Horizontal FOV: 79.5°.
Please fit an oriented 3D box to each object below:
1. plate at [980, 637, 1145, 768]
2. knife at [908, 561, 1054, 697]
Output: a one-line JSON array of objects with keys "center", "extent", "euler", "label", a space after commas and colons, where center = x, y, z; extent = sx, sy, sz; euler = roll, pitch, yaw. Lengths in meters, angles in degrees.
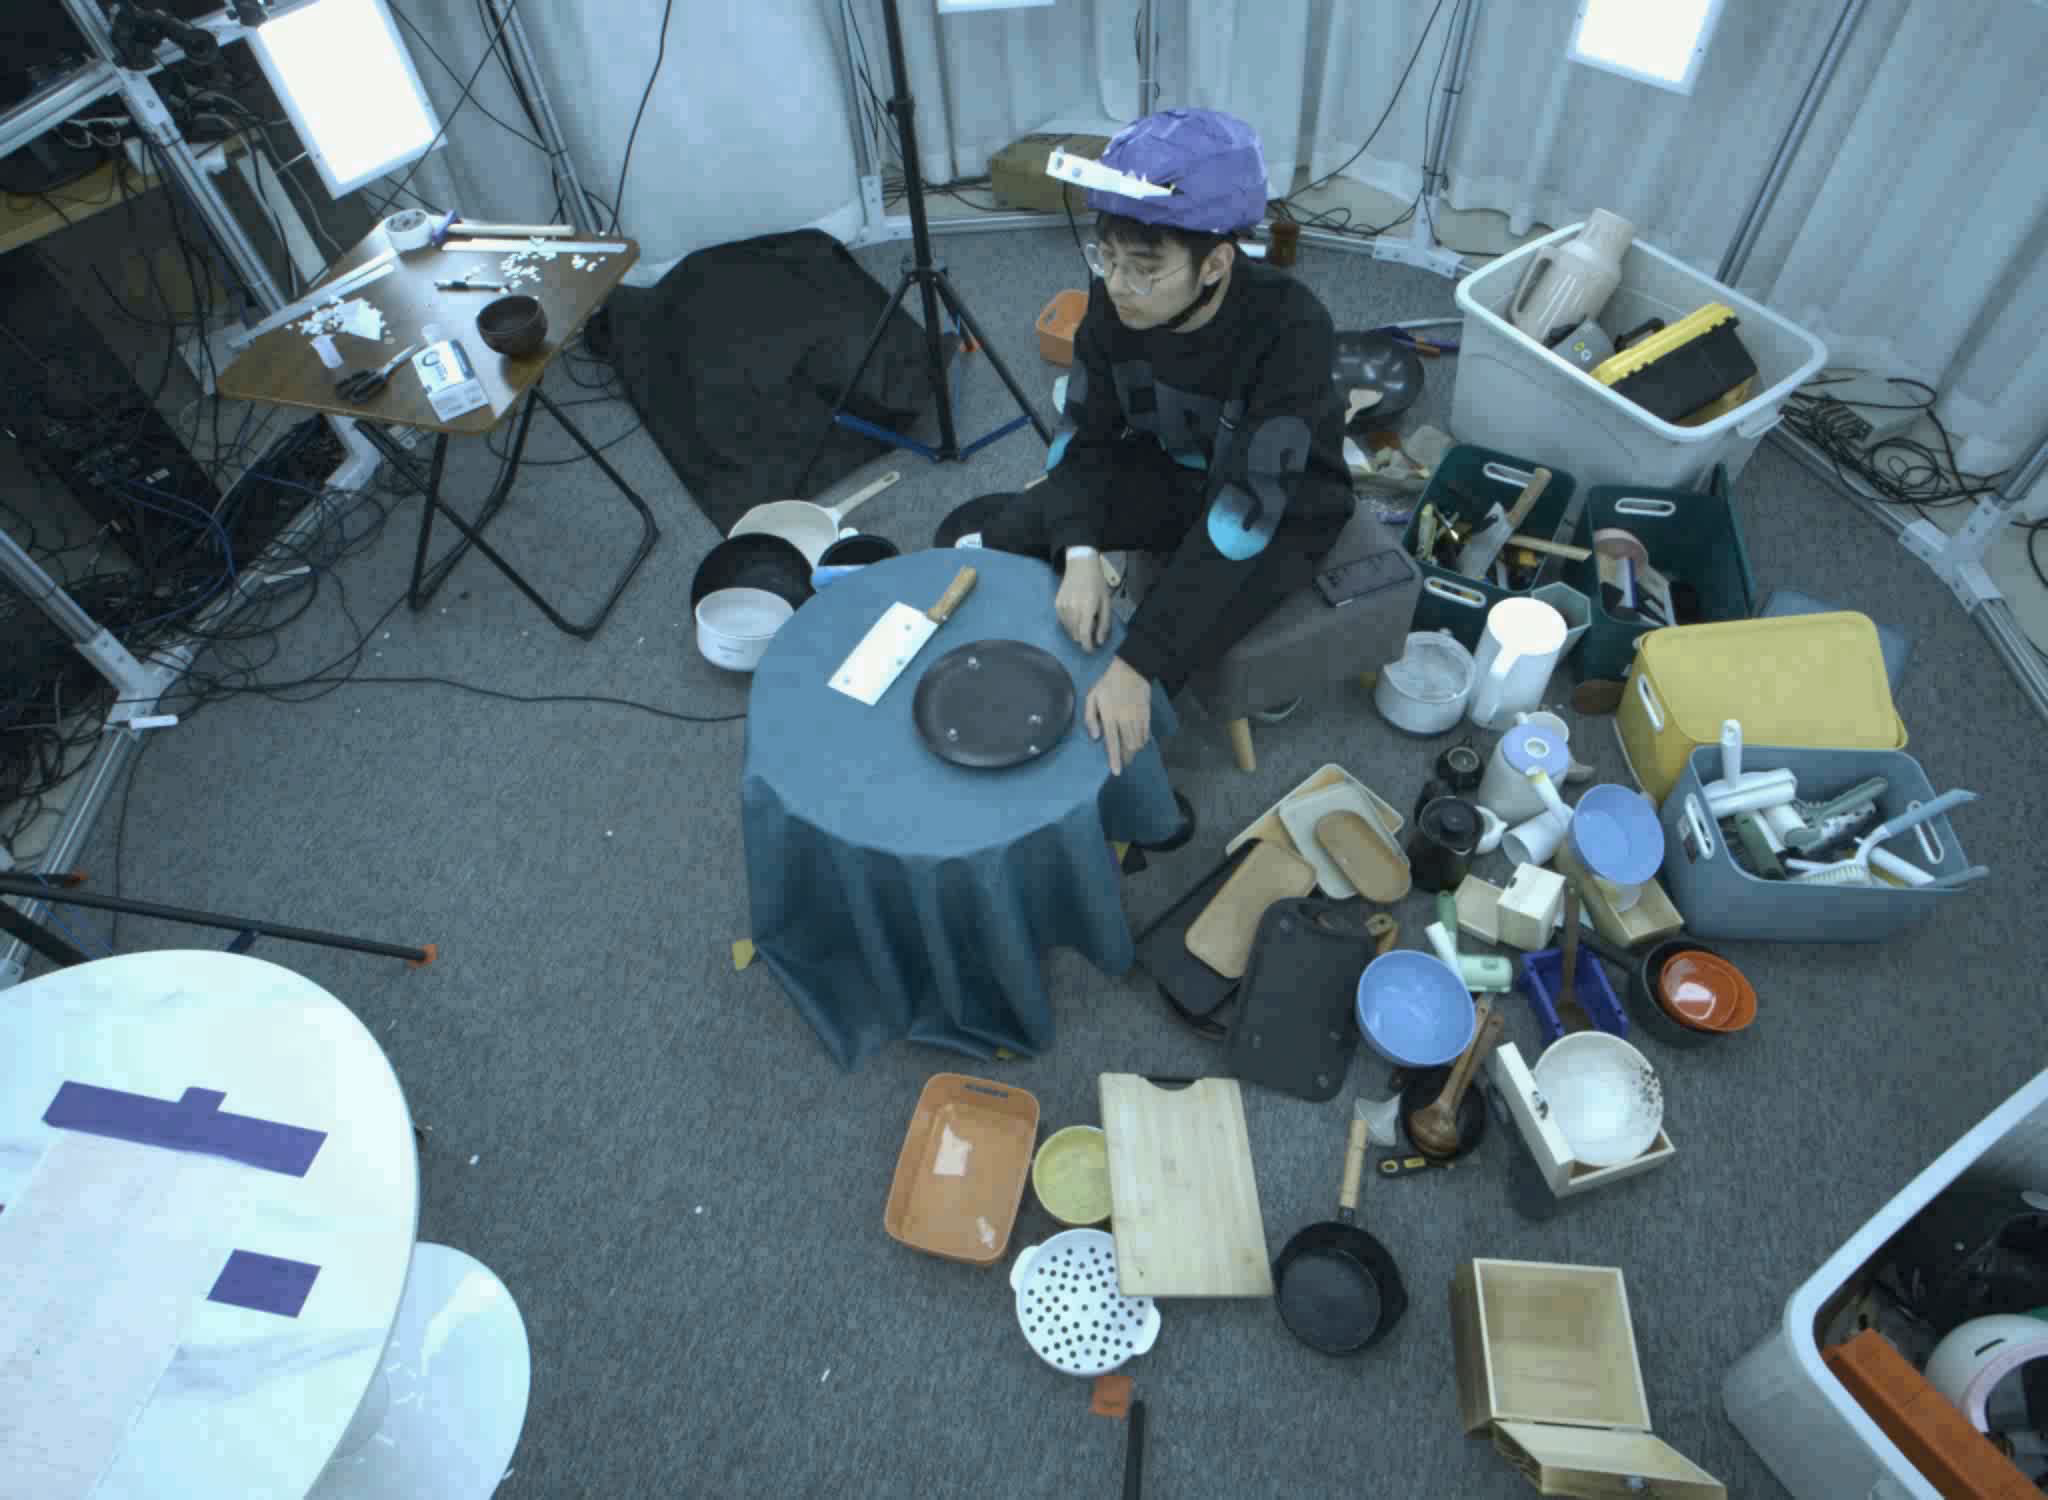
[{"center": [0.056, -0.069, 1.819], "extent": [0.244, 0.024, 0.242], "euler": [-1, 55, 2], "label": "plate"}, {"center": [-0.070, -0.201, 1.923], "extent": [0.091, 0.021, 0.307], "euler": [29, 63, 22], "label": "knife"}]
